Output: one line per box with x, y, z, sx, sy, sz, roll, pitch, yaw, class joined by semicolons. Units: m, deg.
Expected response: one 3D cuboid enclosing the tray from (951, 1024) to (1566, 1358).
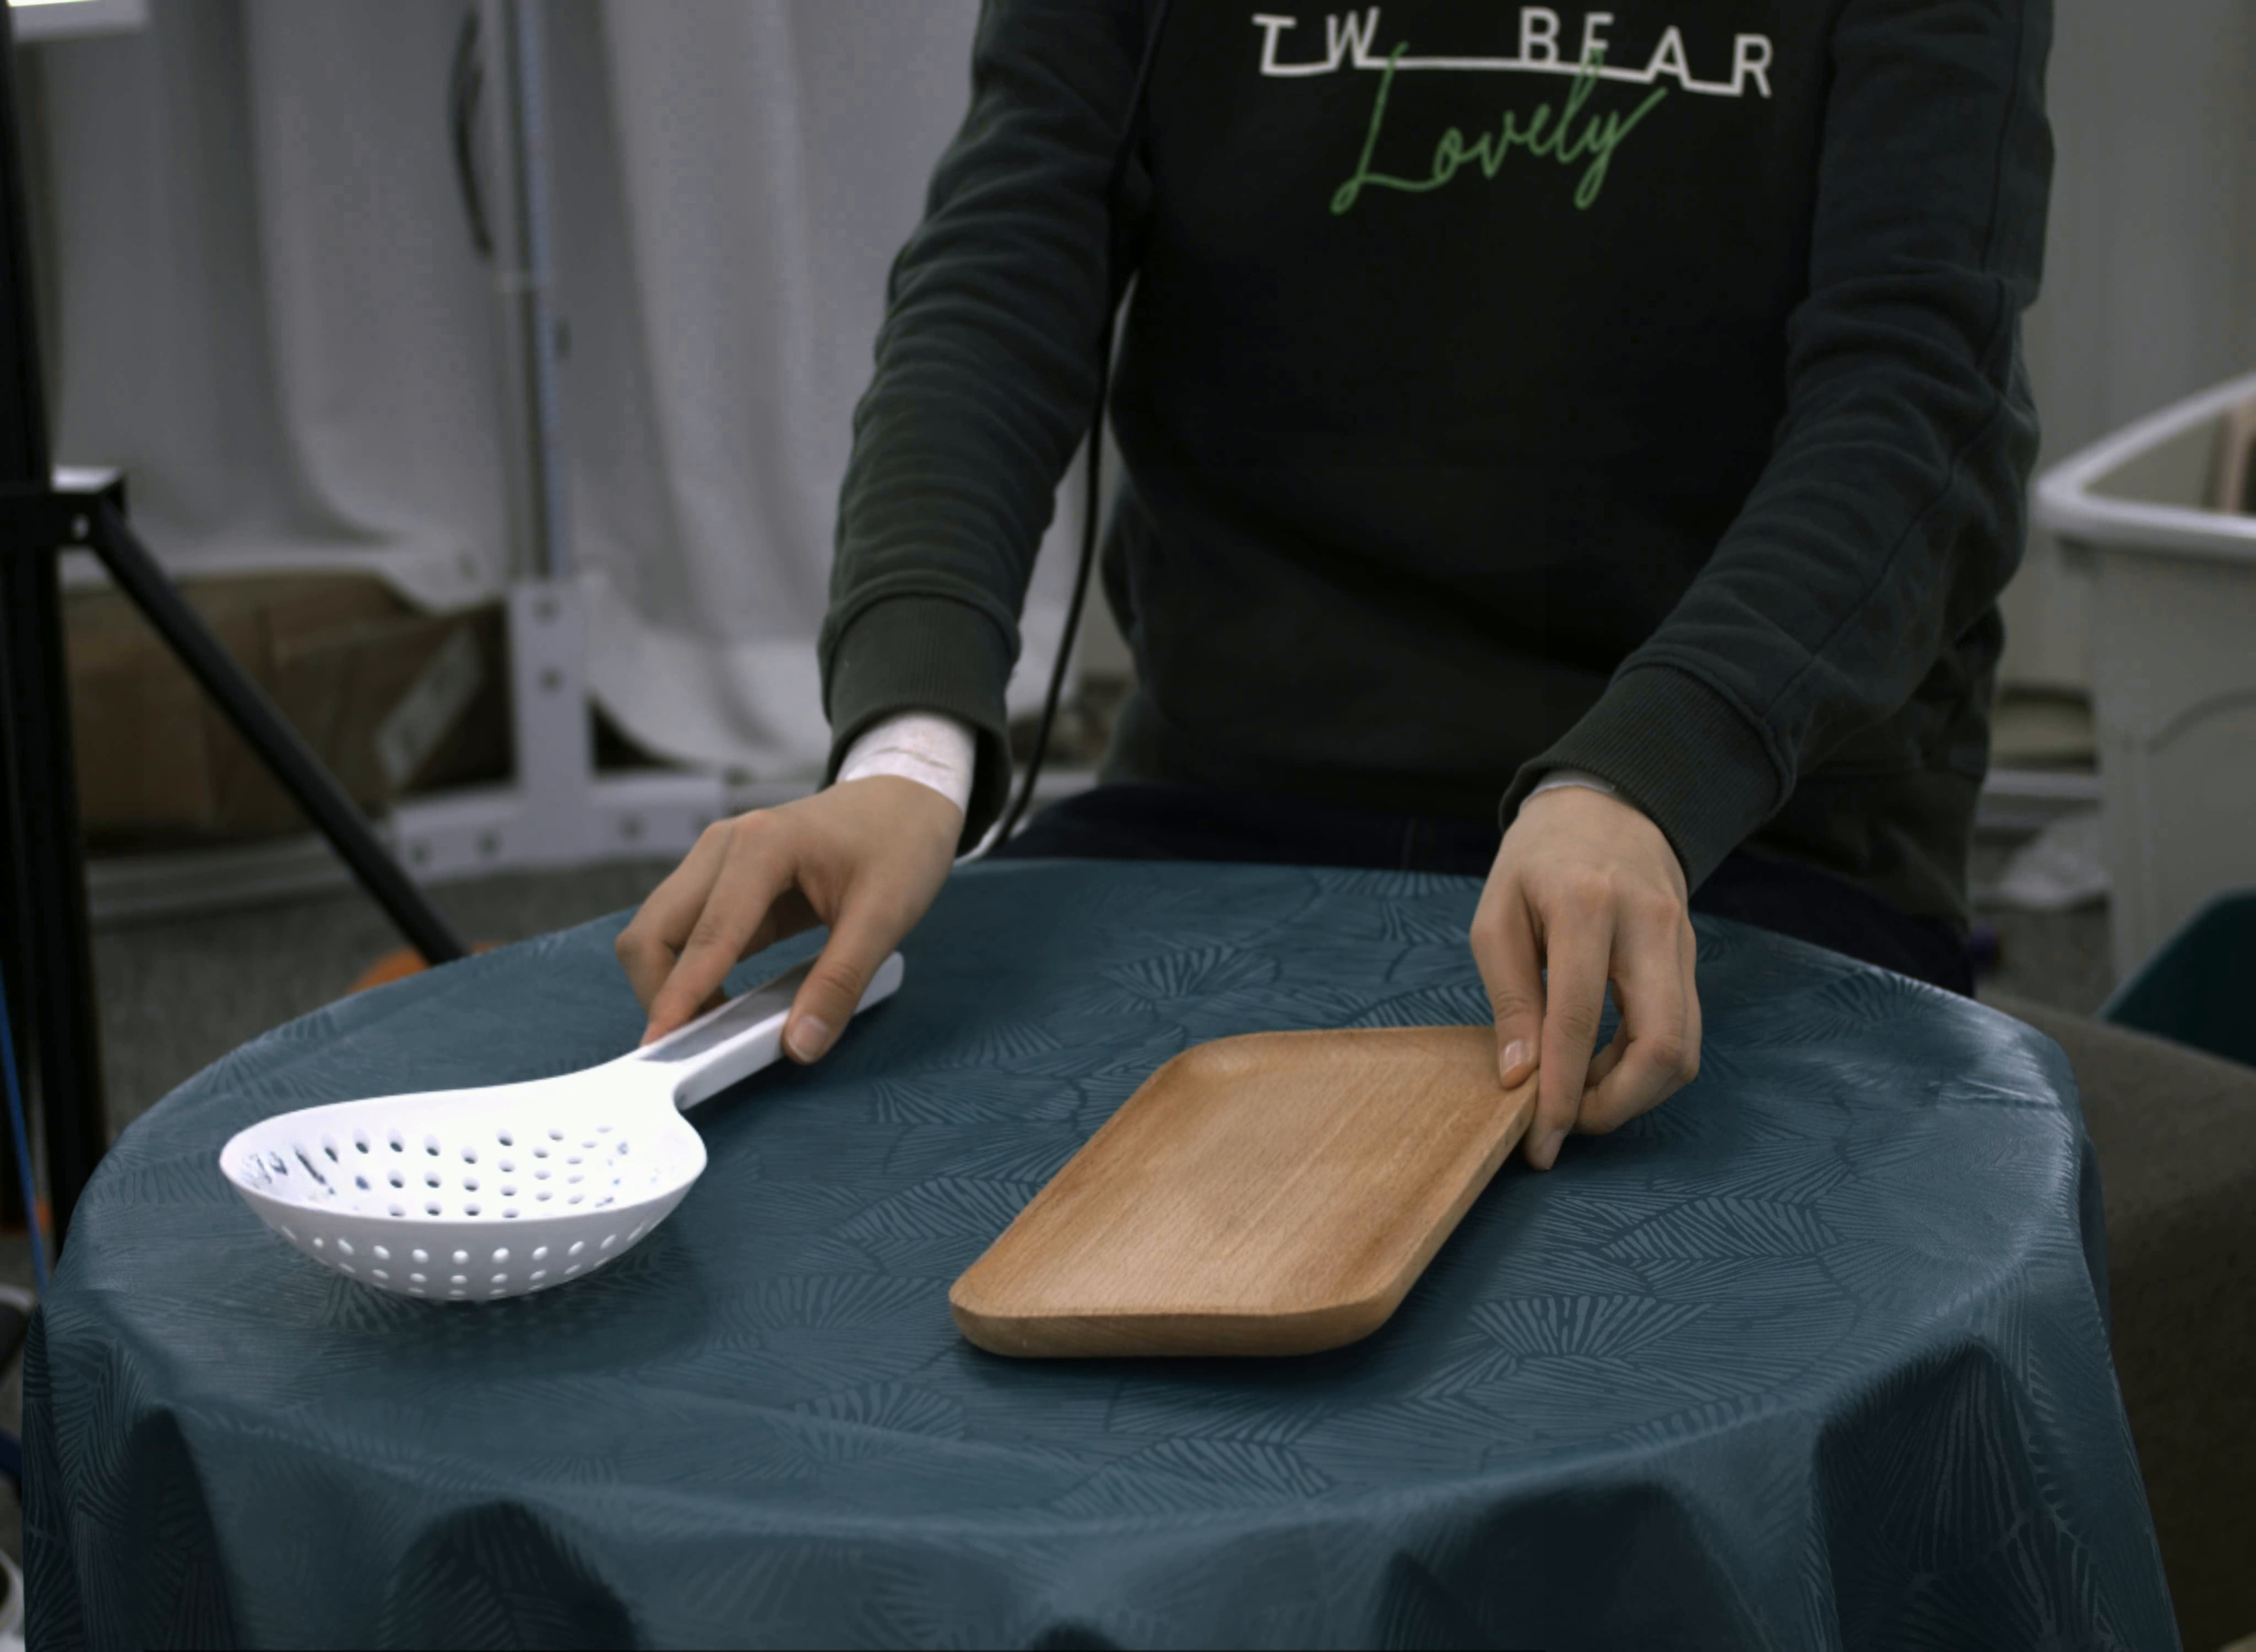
0.042;0.102;1.521;0.132;0.023;0.248;-1;15;19;tray

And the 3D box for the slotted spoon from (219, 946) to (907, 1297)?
-0.148;0.079;1.598;0.138;0.046;0.345;7;18;21;slotted spoon
